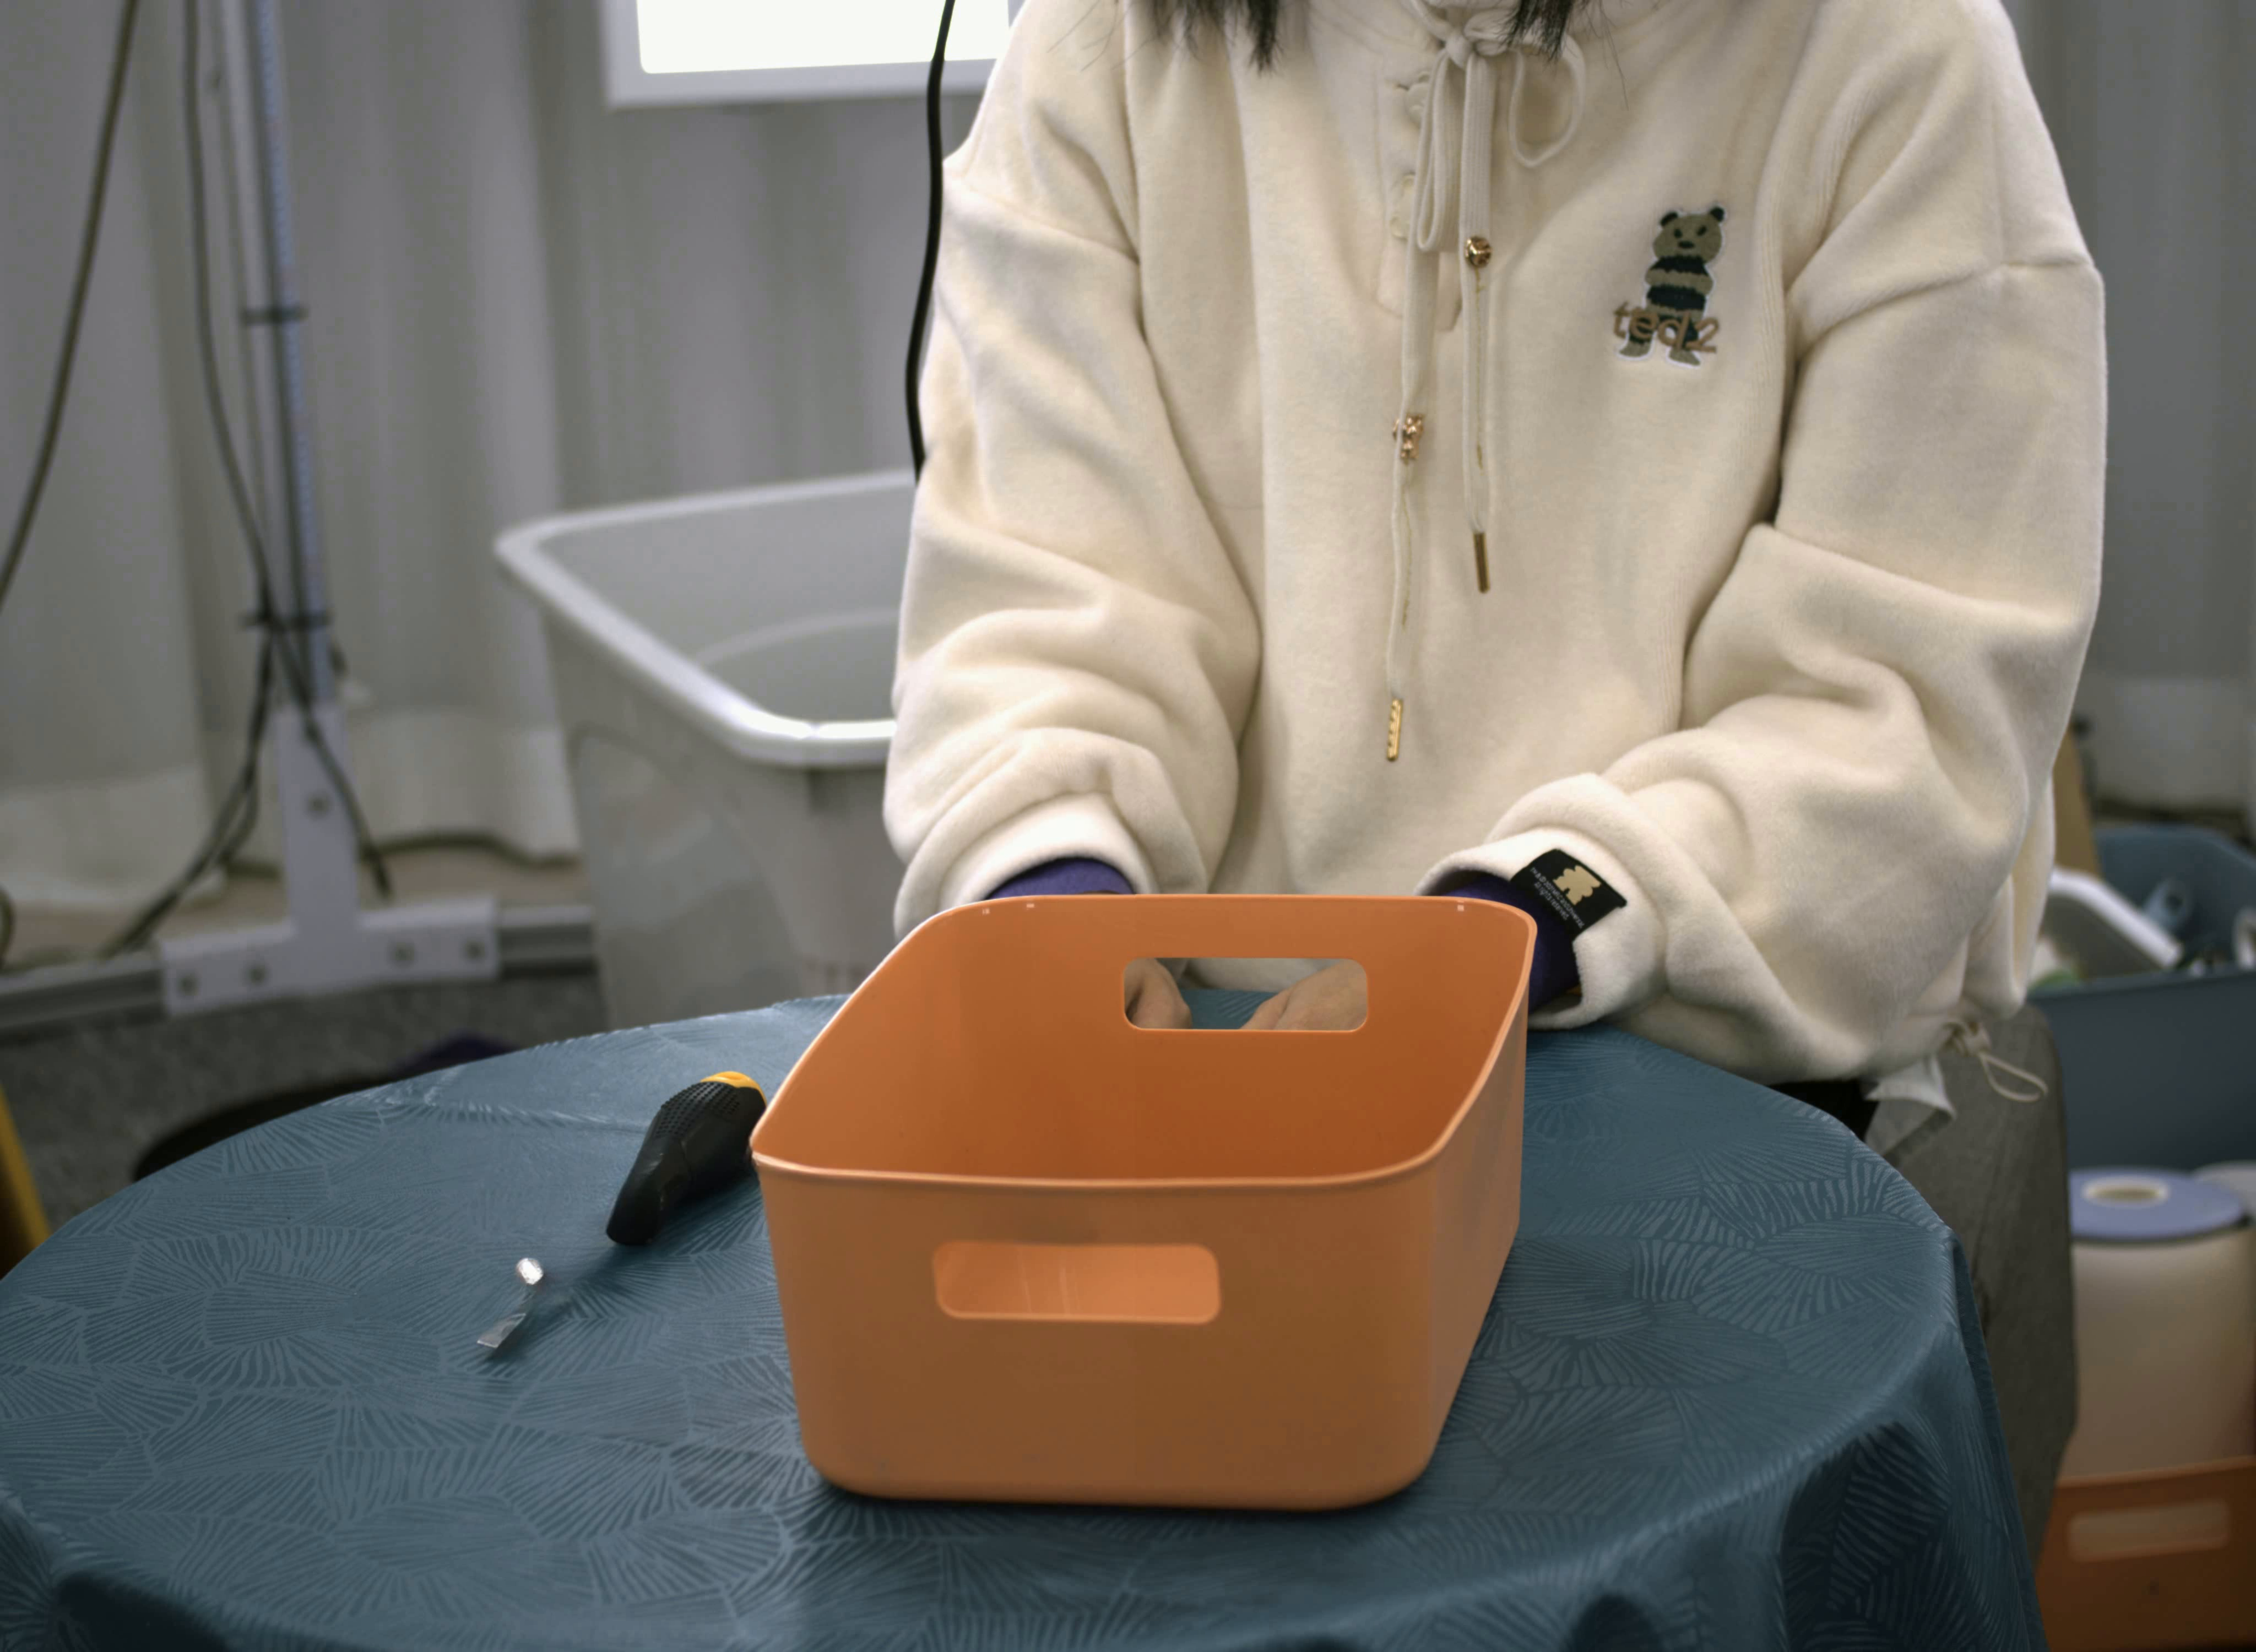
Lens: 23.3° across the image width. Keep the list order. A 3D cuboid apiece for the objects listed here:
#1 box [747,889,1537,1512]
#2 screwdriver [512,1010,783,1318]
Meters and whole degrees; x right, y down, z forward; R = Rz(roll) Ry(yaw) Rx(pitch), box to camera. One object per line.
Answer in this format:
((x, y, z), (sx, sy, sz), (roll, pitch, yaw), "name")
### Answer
((0.014, 0.103, 1.554), (0.199, 0.102, 0.274), (-1, 15, 11), "box")
((-0.146, 0.106, 1.685), (0.031, 0.031, 0.199), (1, 24, 15), "screwdriver")
